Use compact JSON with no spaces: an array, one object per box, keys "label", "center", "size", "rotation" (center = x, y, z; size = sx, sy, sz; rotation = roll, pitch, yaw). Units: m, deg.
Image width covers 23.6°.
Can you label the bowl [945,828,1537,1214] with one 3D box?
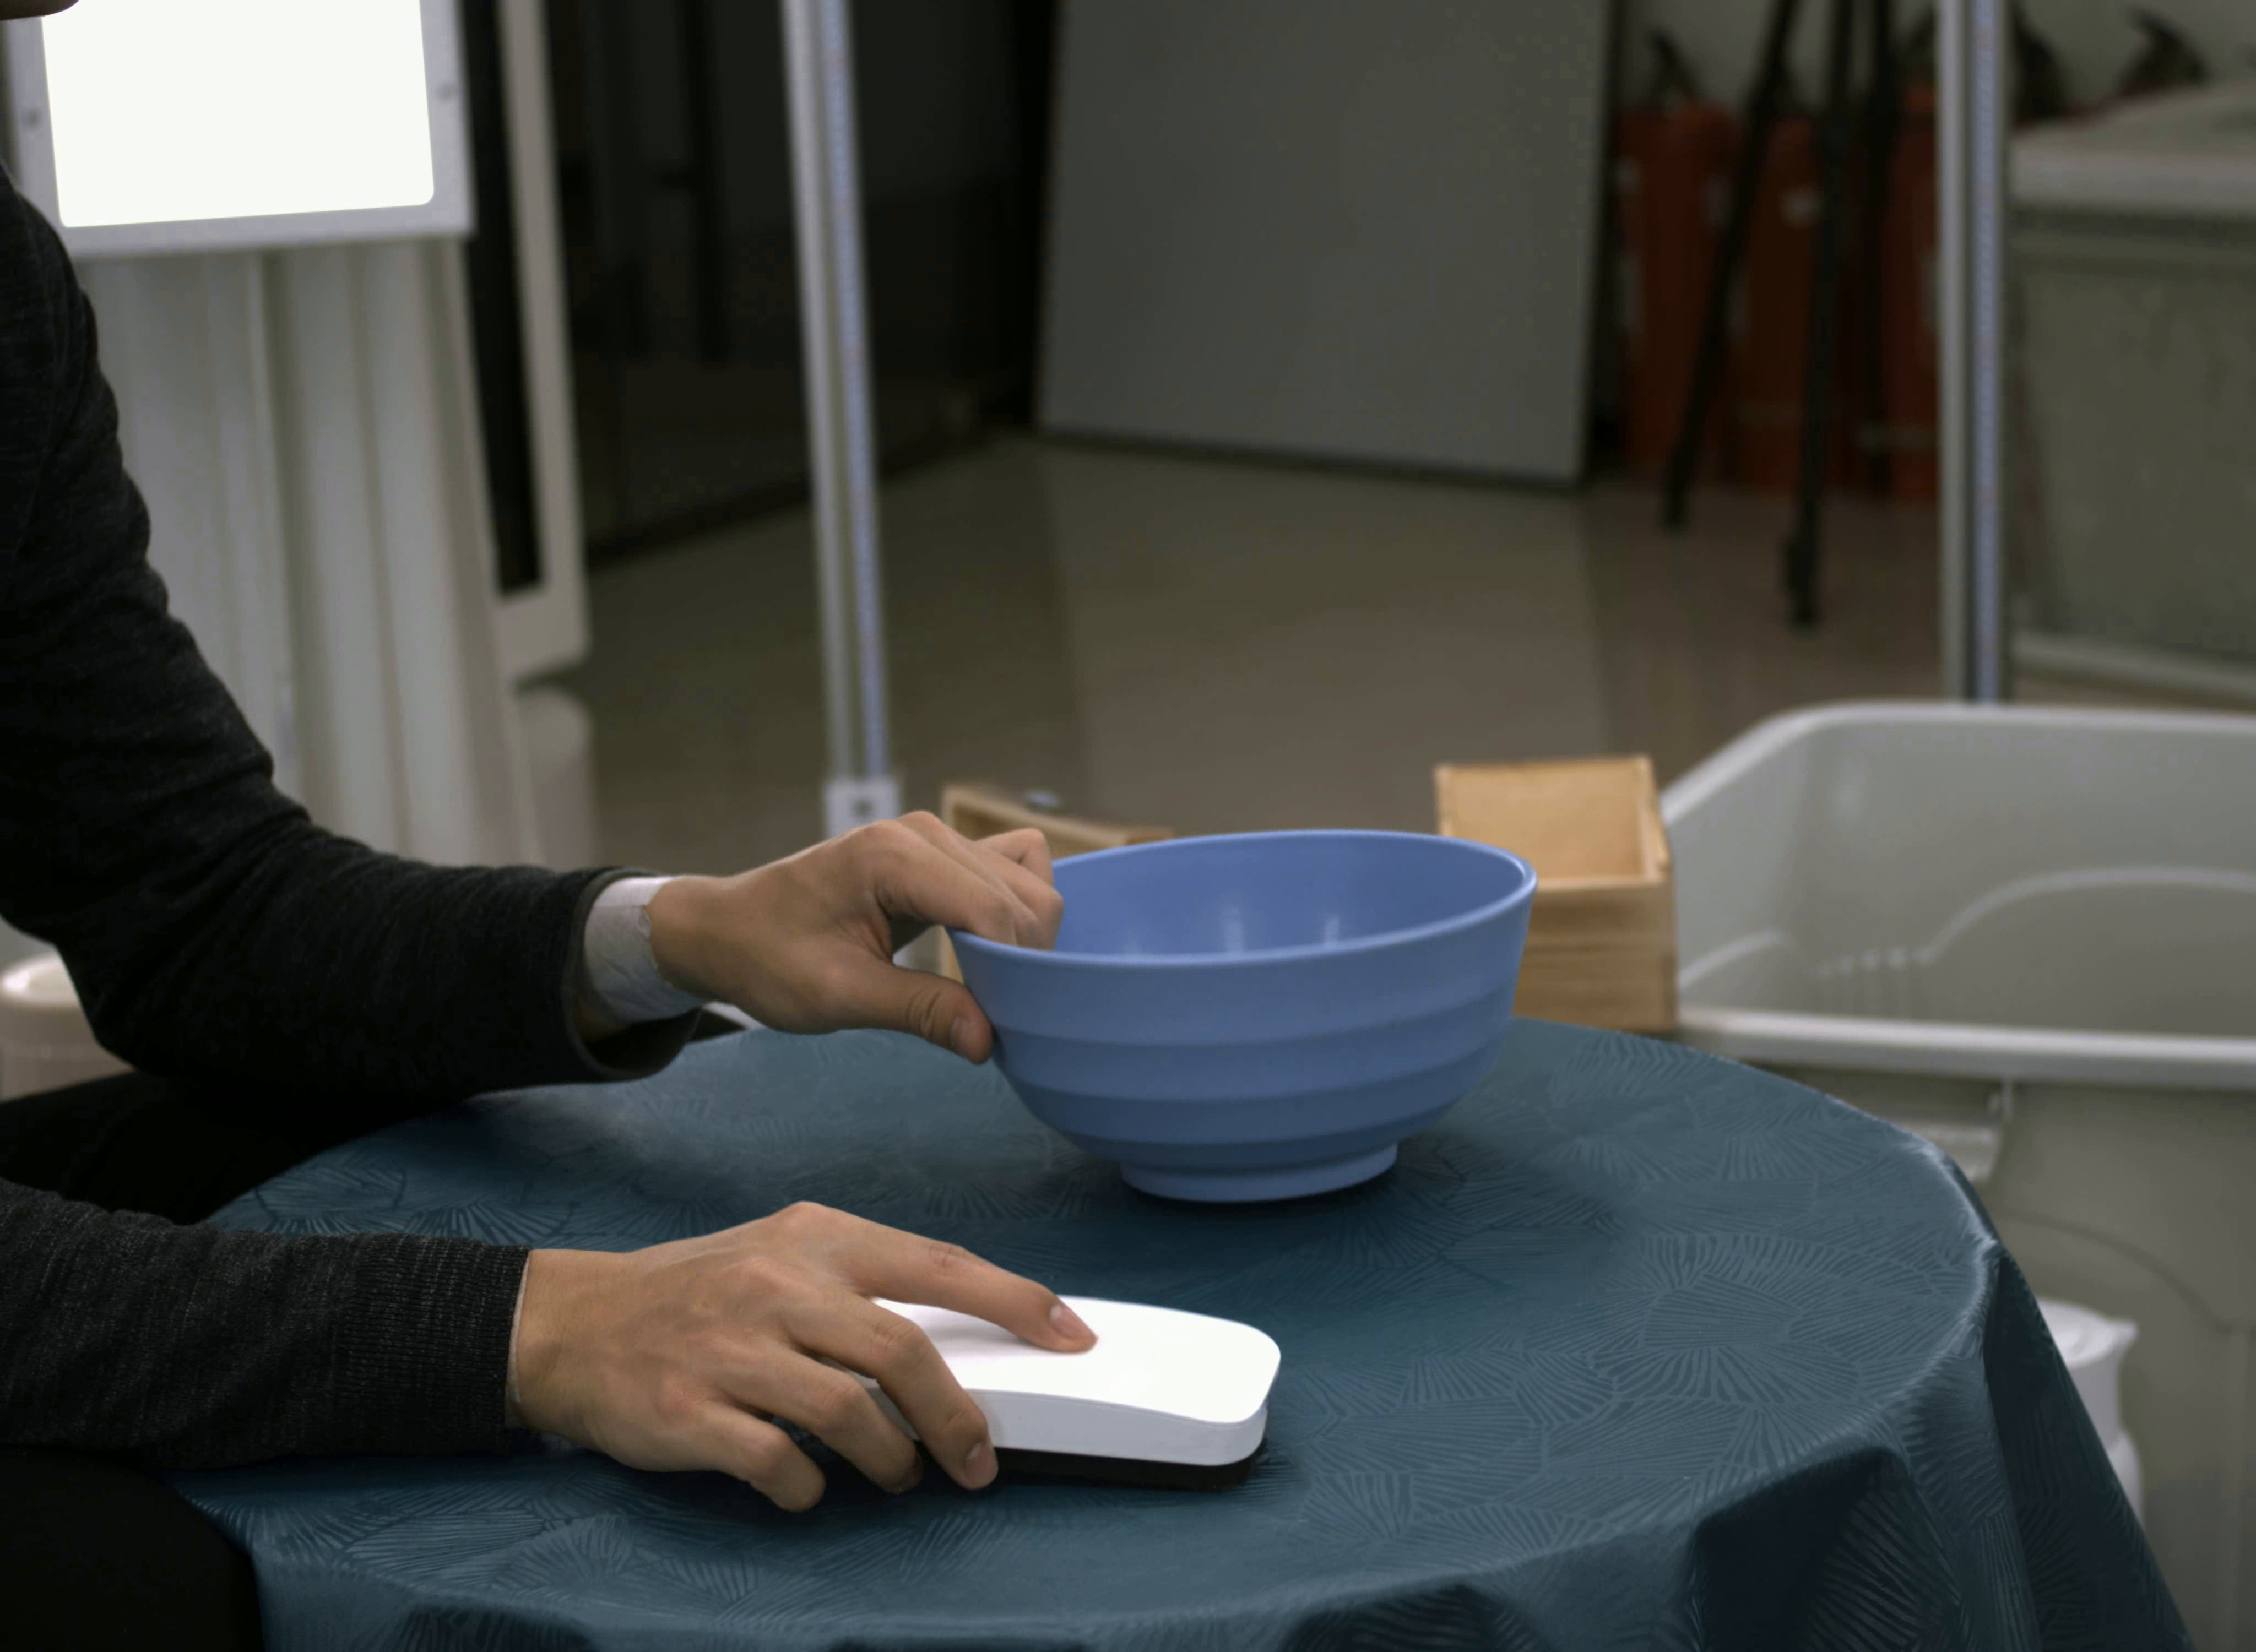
[{"label":"bowl","center":[0.040,0.068,1.768],"size":[0.194,0.096,0.197],"rotation":[-4,12,0]}]

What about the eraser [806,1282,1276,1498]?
[{"label":"eraser","center":[-0.024,0.159,1.532],"size":[0.130,0.035,0.063],"rotation":[5,19,13]}]
